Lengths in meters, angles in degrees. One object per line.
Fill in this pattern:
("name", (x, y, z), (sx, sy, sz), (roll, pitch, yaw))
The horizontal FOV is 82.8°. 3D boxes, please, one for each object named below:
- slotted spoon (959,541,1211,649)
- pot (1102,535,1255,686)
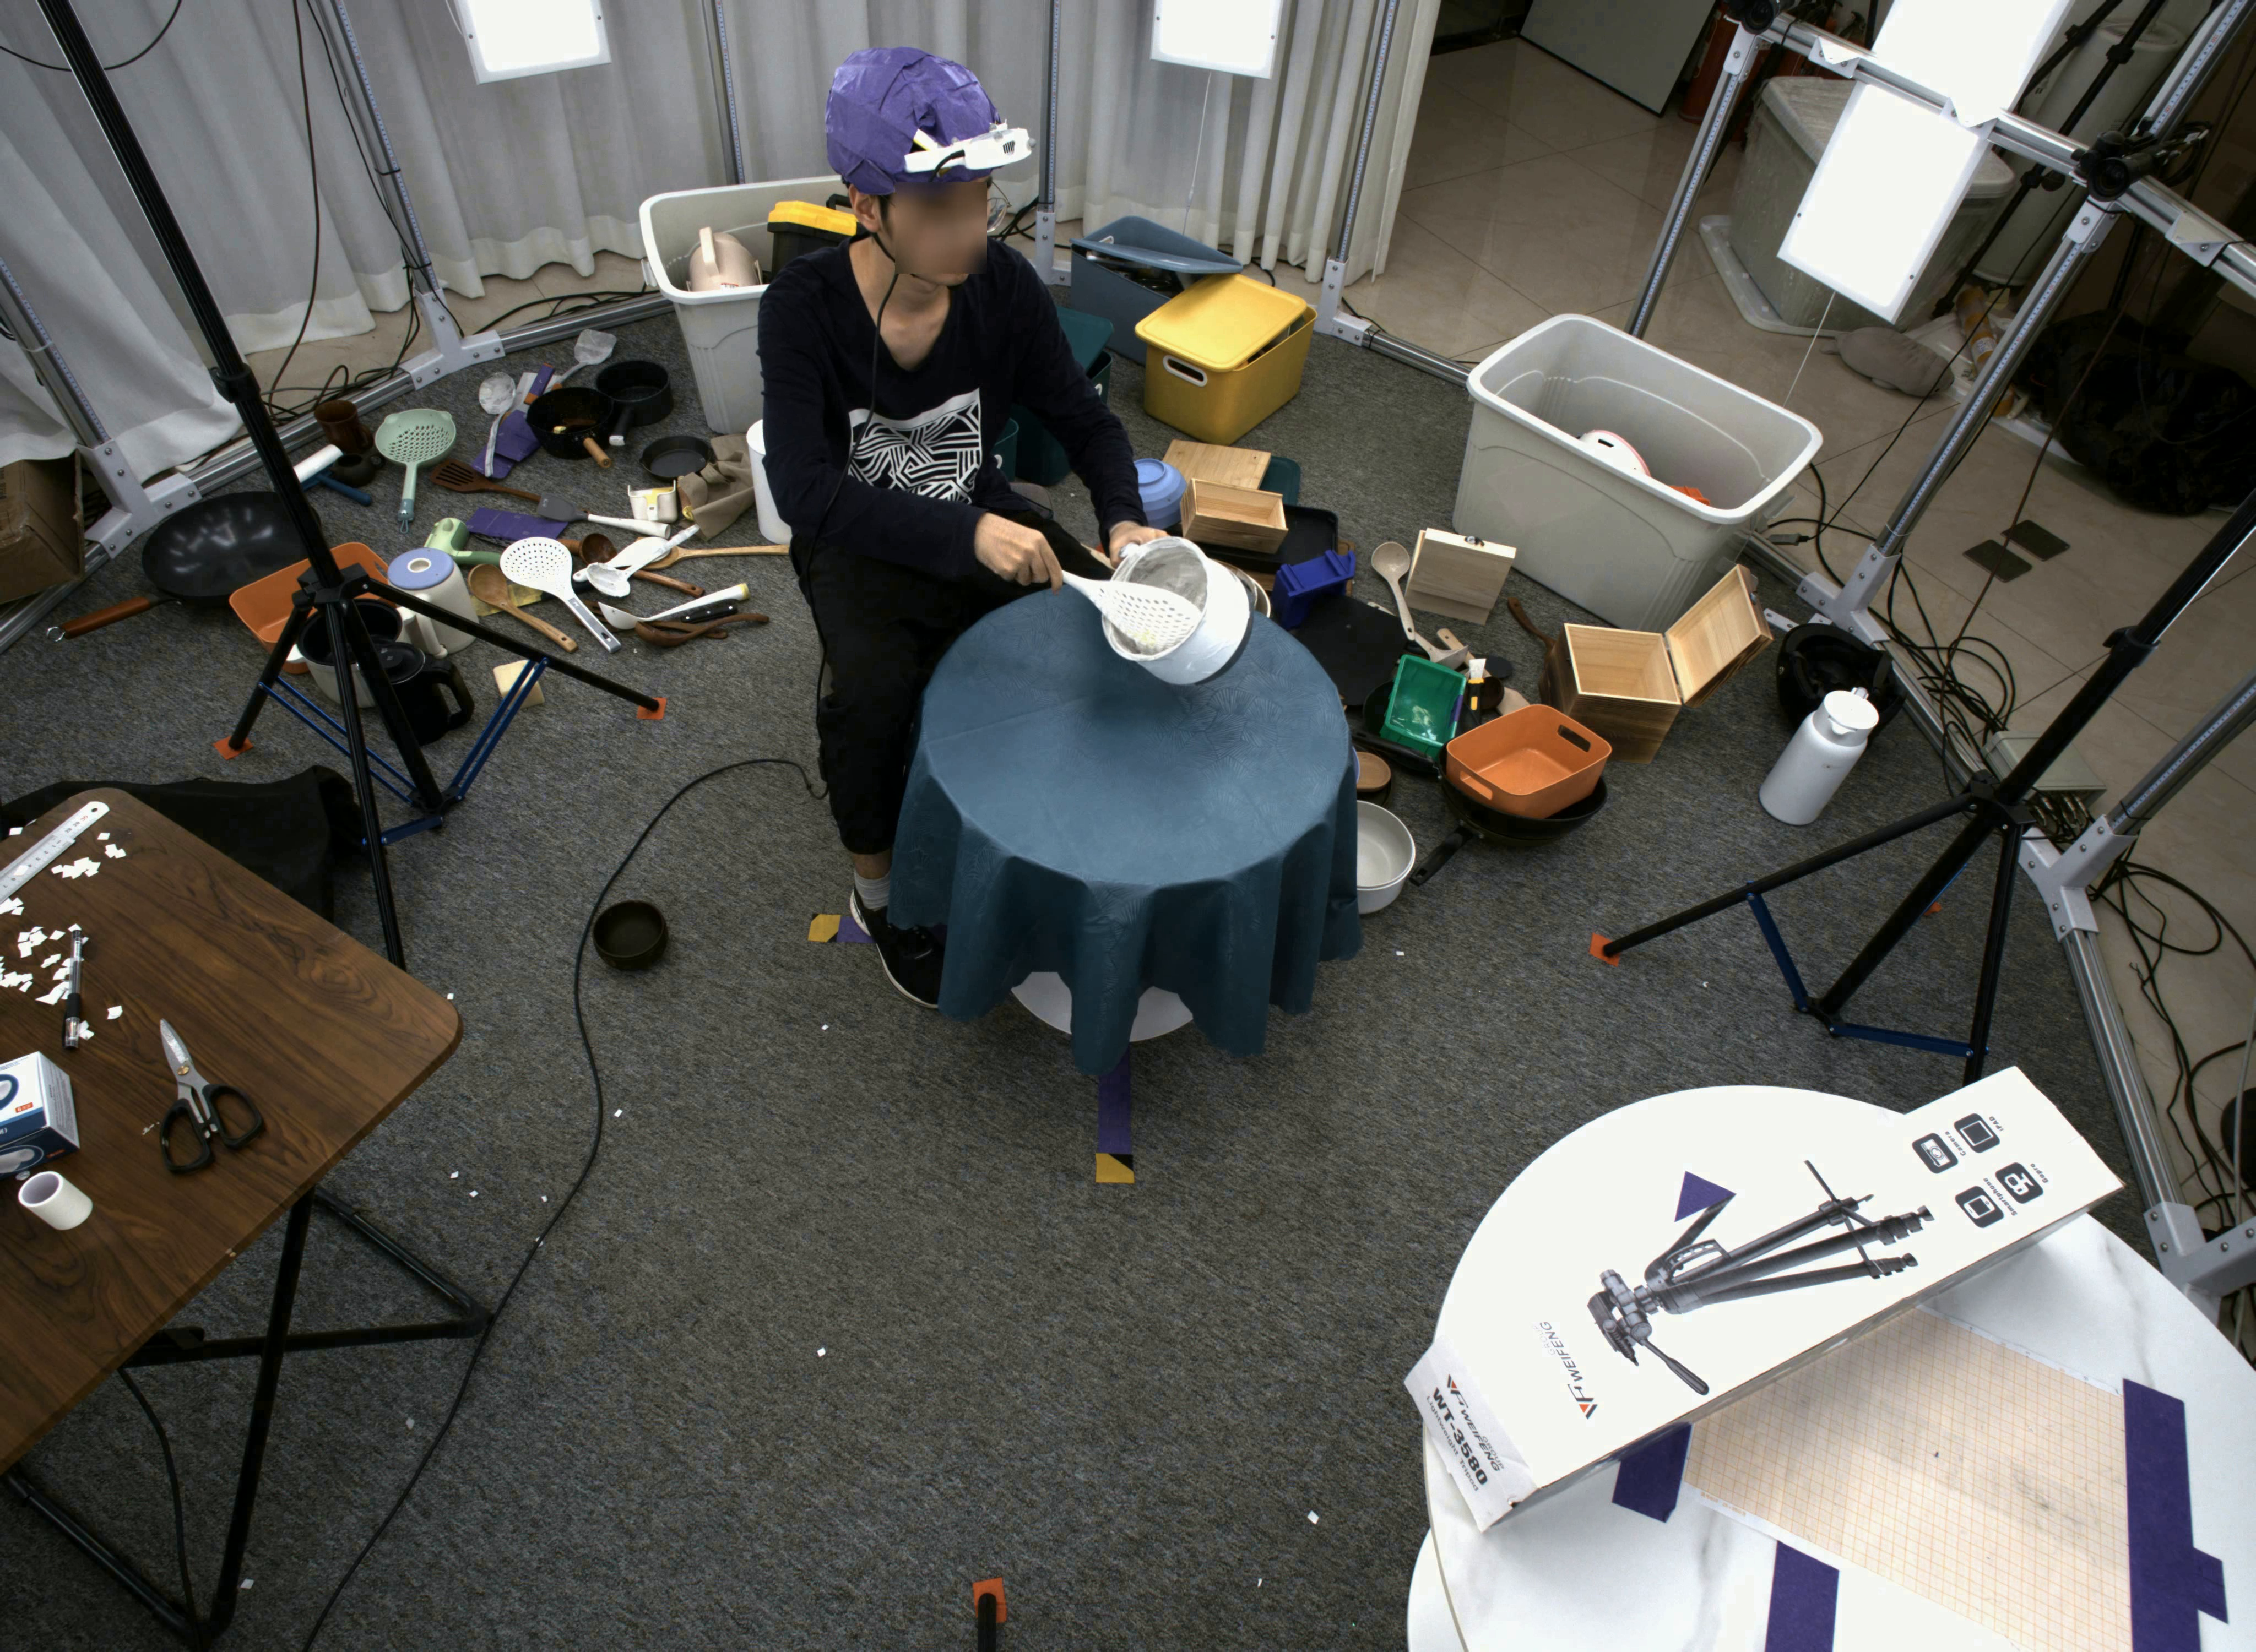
("slotted spoon", (-0.057, -0.314, 1.712), (0.348, 0.135, 0.051), (26, 69, 3))
("pot", (0.060, -0.309, 1.772), (0.177, 0.134, 0.239), (-42, 55, 15))
